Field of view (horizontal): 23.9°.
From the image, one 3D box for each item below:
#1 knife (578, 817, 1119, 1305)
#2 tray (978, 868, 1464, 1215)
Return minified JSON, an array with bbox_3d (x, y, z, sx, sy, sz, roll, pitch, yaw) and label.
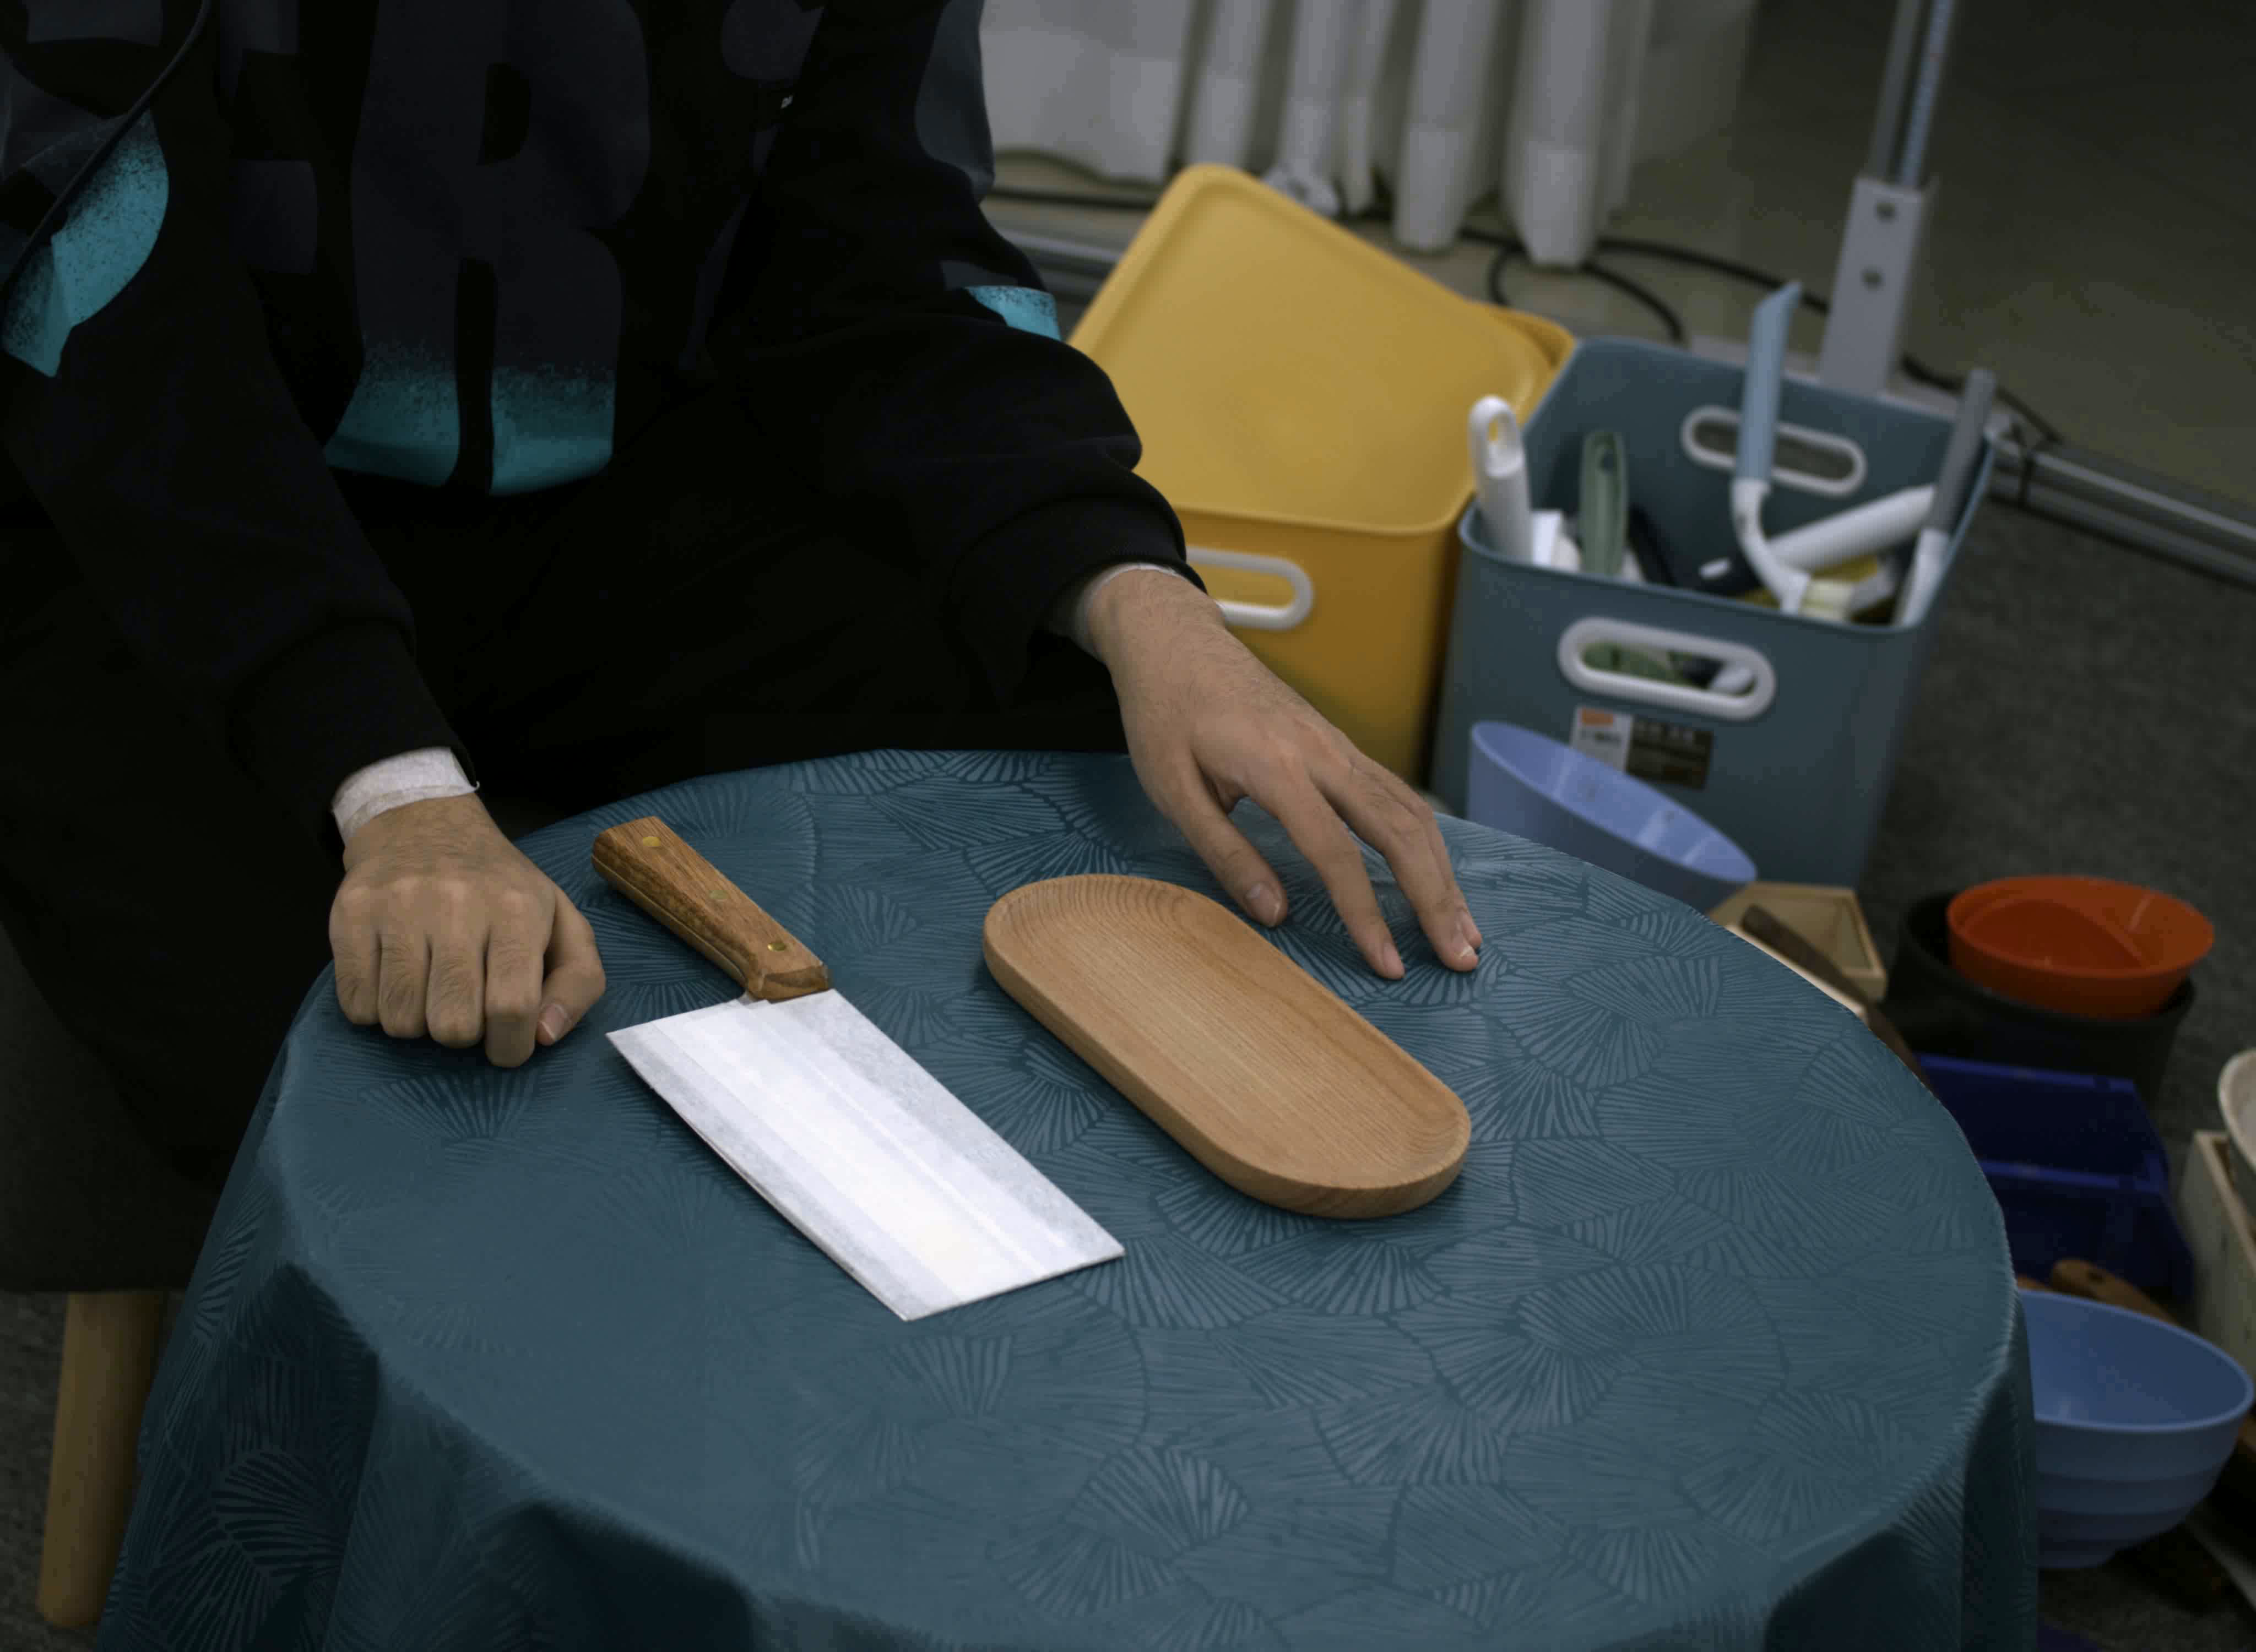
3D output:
[{"bbox_3d":[-0.122,0.080,1.843,0.092,0.021,0.308,-15,36,-33],"label":"knife"},{"bbox_3d":[0.031,0.074,1.887,0.101,0.020,0.233,-10,31,-31],"label":"tray"}]
